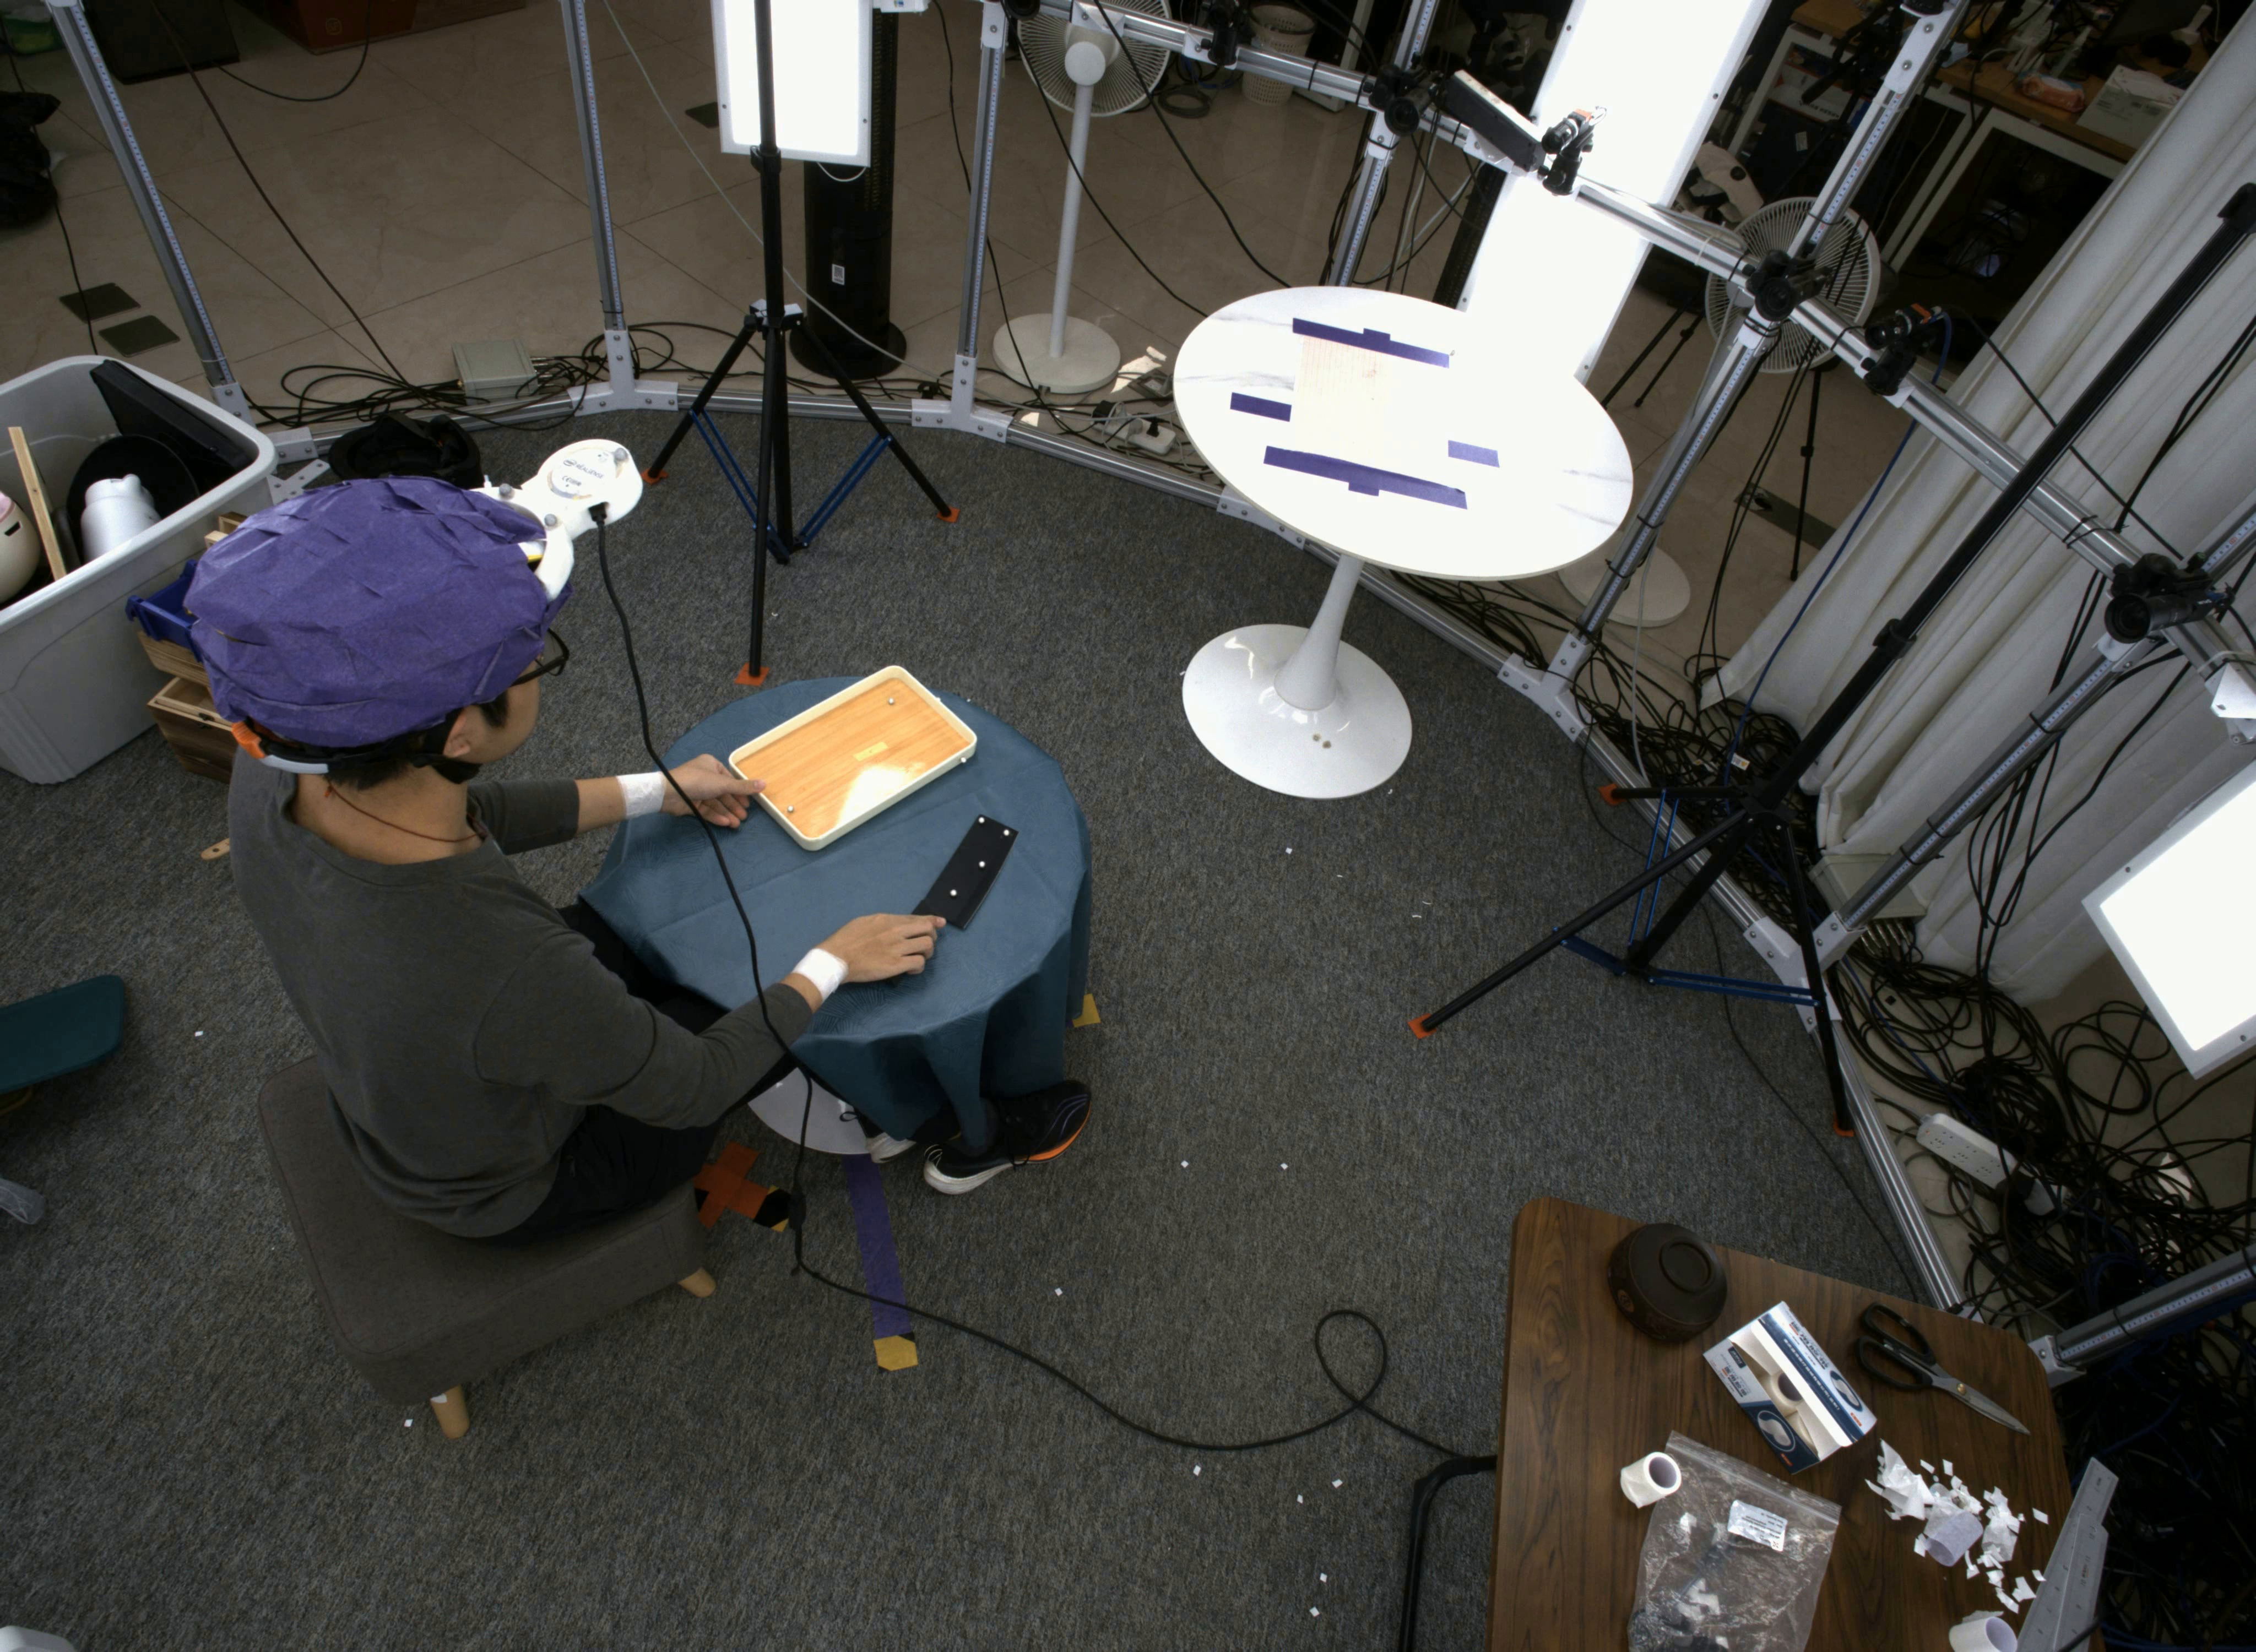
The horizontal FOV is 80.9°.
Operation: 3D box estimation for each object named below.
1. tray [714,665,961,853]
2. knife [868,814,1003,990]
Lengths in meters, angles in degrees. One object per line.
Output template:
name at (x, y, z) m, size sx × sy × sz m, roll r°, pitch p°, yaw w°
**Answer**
tray at (-0.398, -0.099, 1.797) m, size 0.187 × 0.028 × 0.301 m, roll 41°, pitch 55°, yaw 17°
knife at (-0.251, 0.094, 1.701) m, size 0.080 × 0.021 × 0.300 m, roll 28°, pitch 51°, yaw 5°
